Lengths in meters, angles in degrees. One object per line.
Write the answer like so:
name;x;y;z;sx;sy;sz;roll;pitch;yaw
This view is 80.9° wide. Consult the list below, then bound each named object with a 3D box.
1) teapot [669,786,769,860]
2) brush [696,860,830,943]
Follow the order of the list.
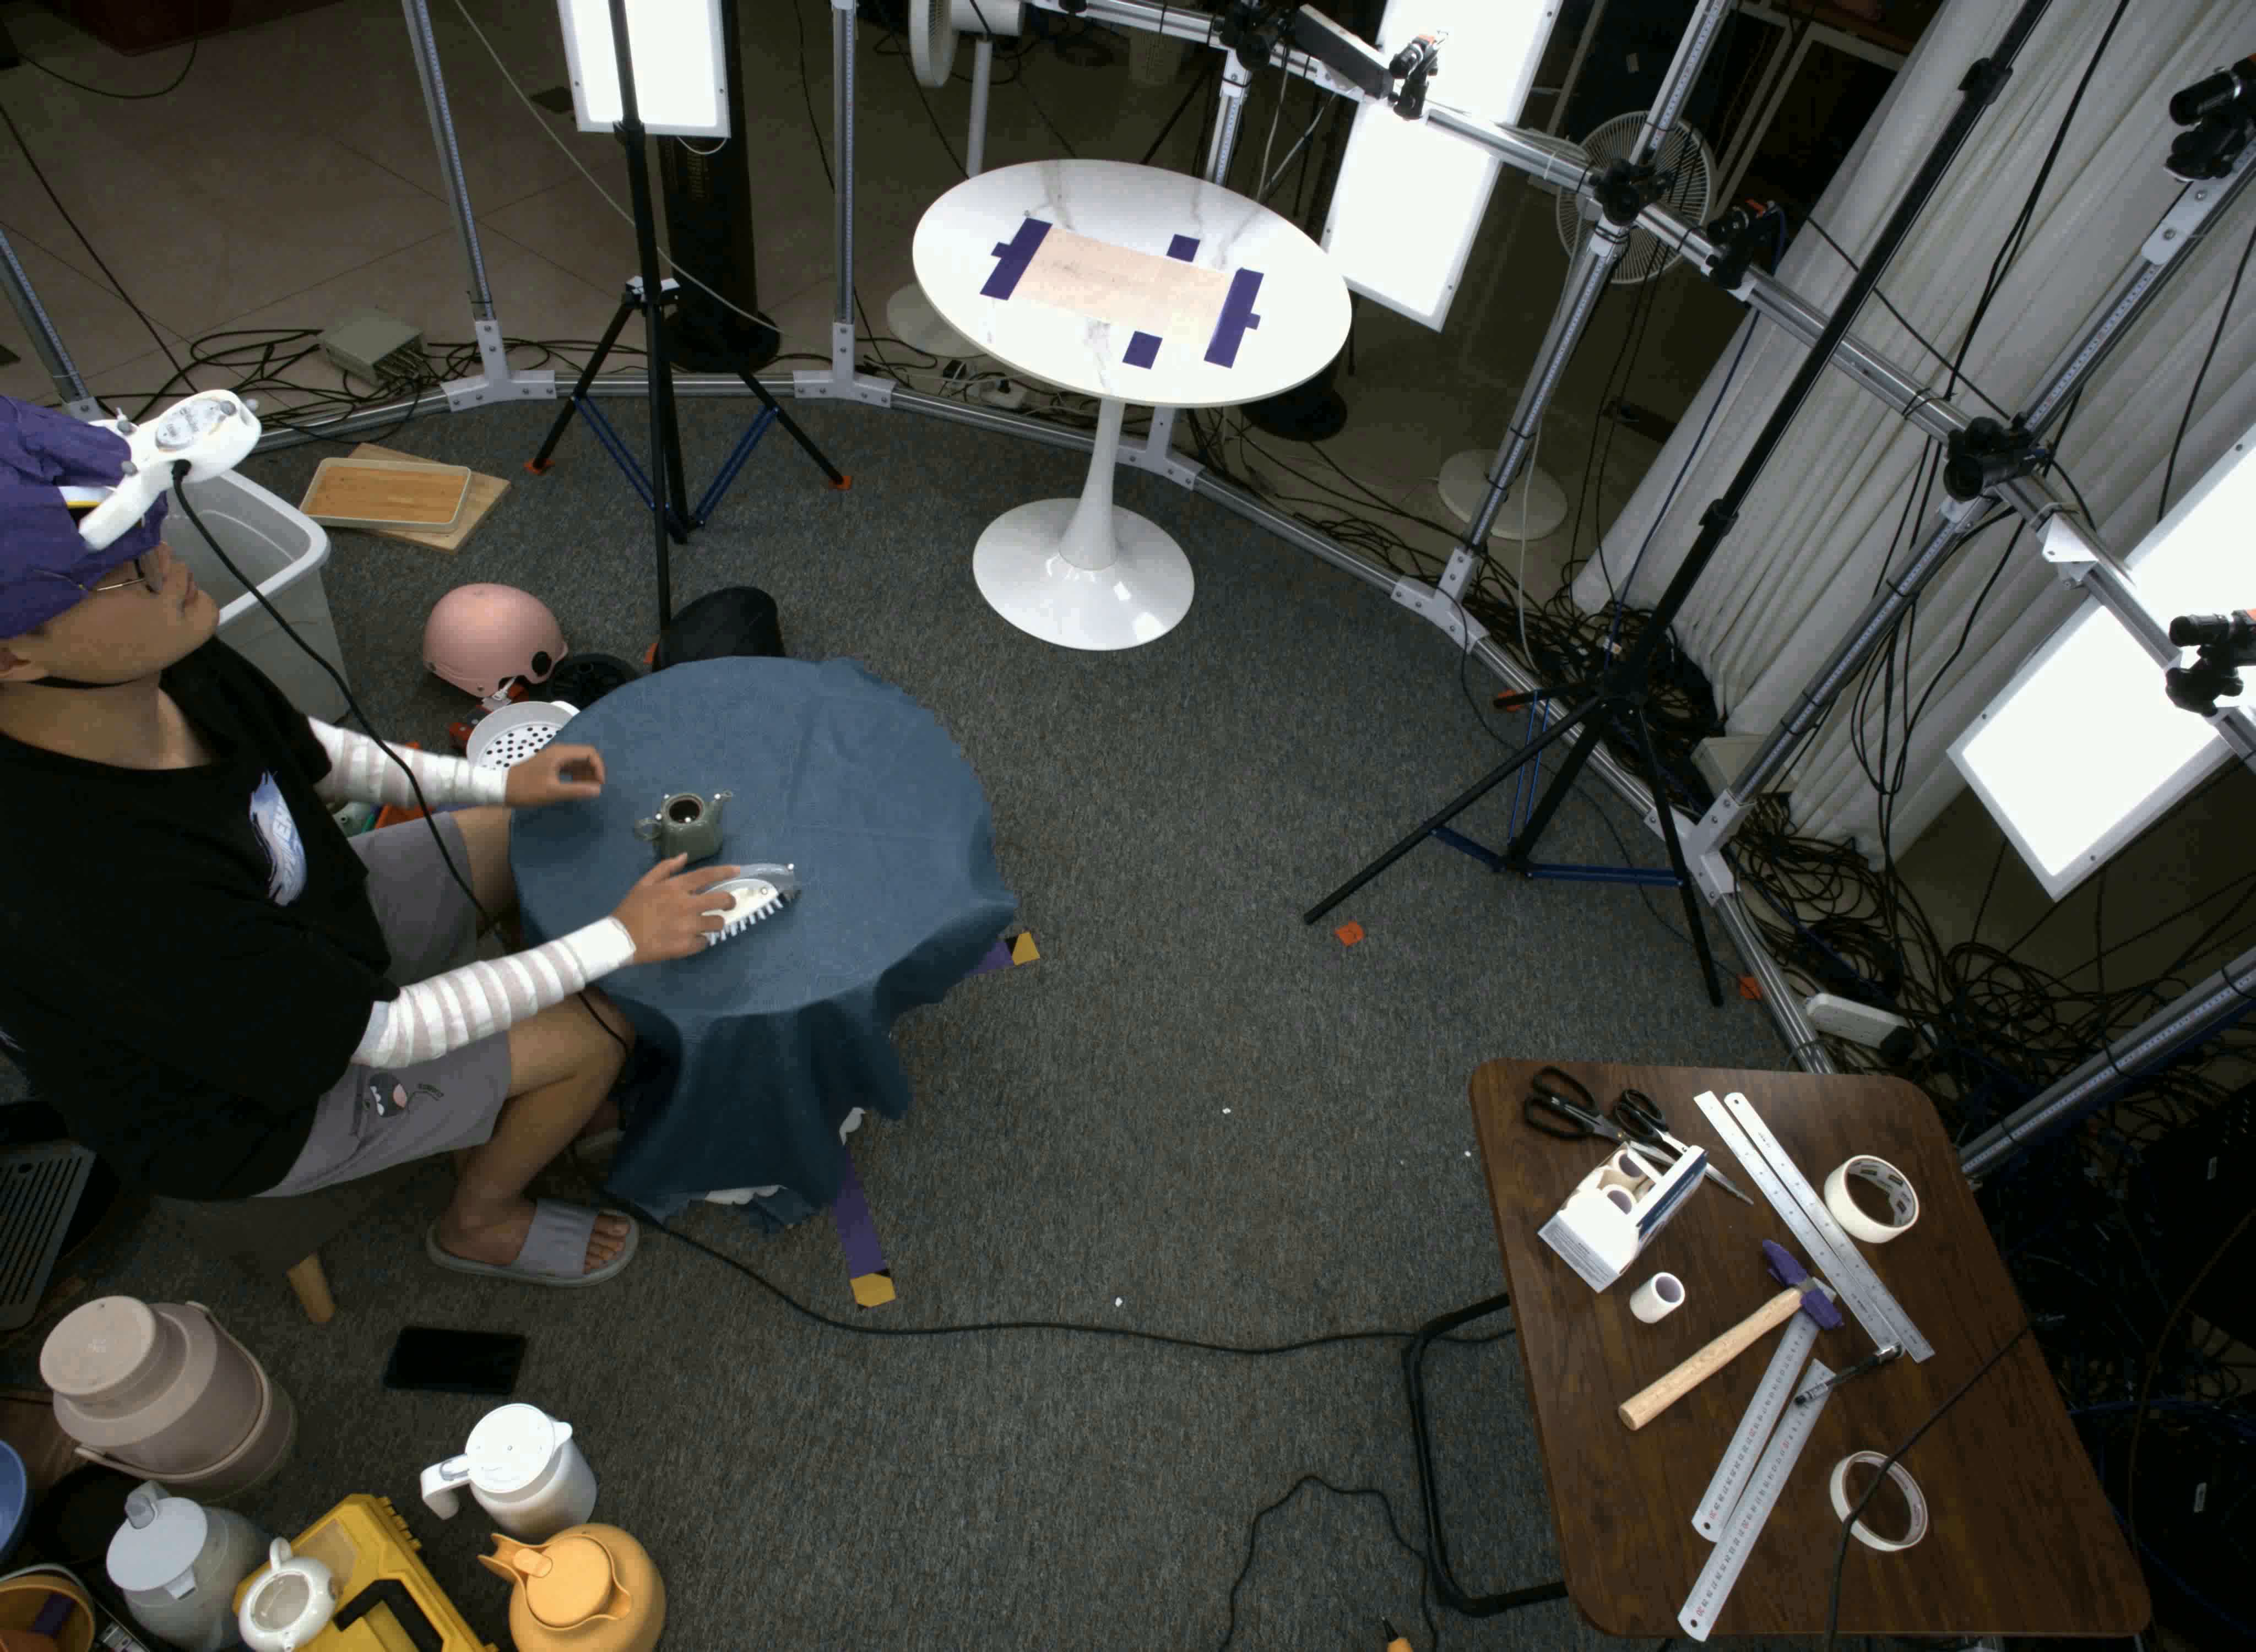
teapot;-0.524;-0.008;1.669;0.133;0.077;0.077;-20;59;-24
brush;-0.451;0.075;1.613;0.176;0.096;0.060;-20;63;-28
